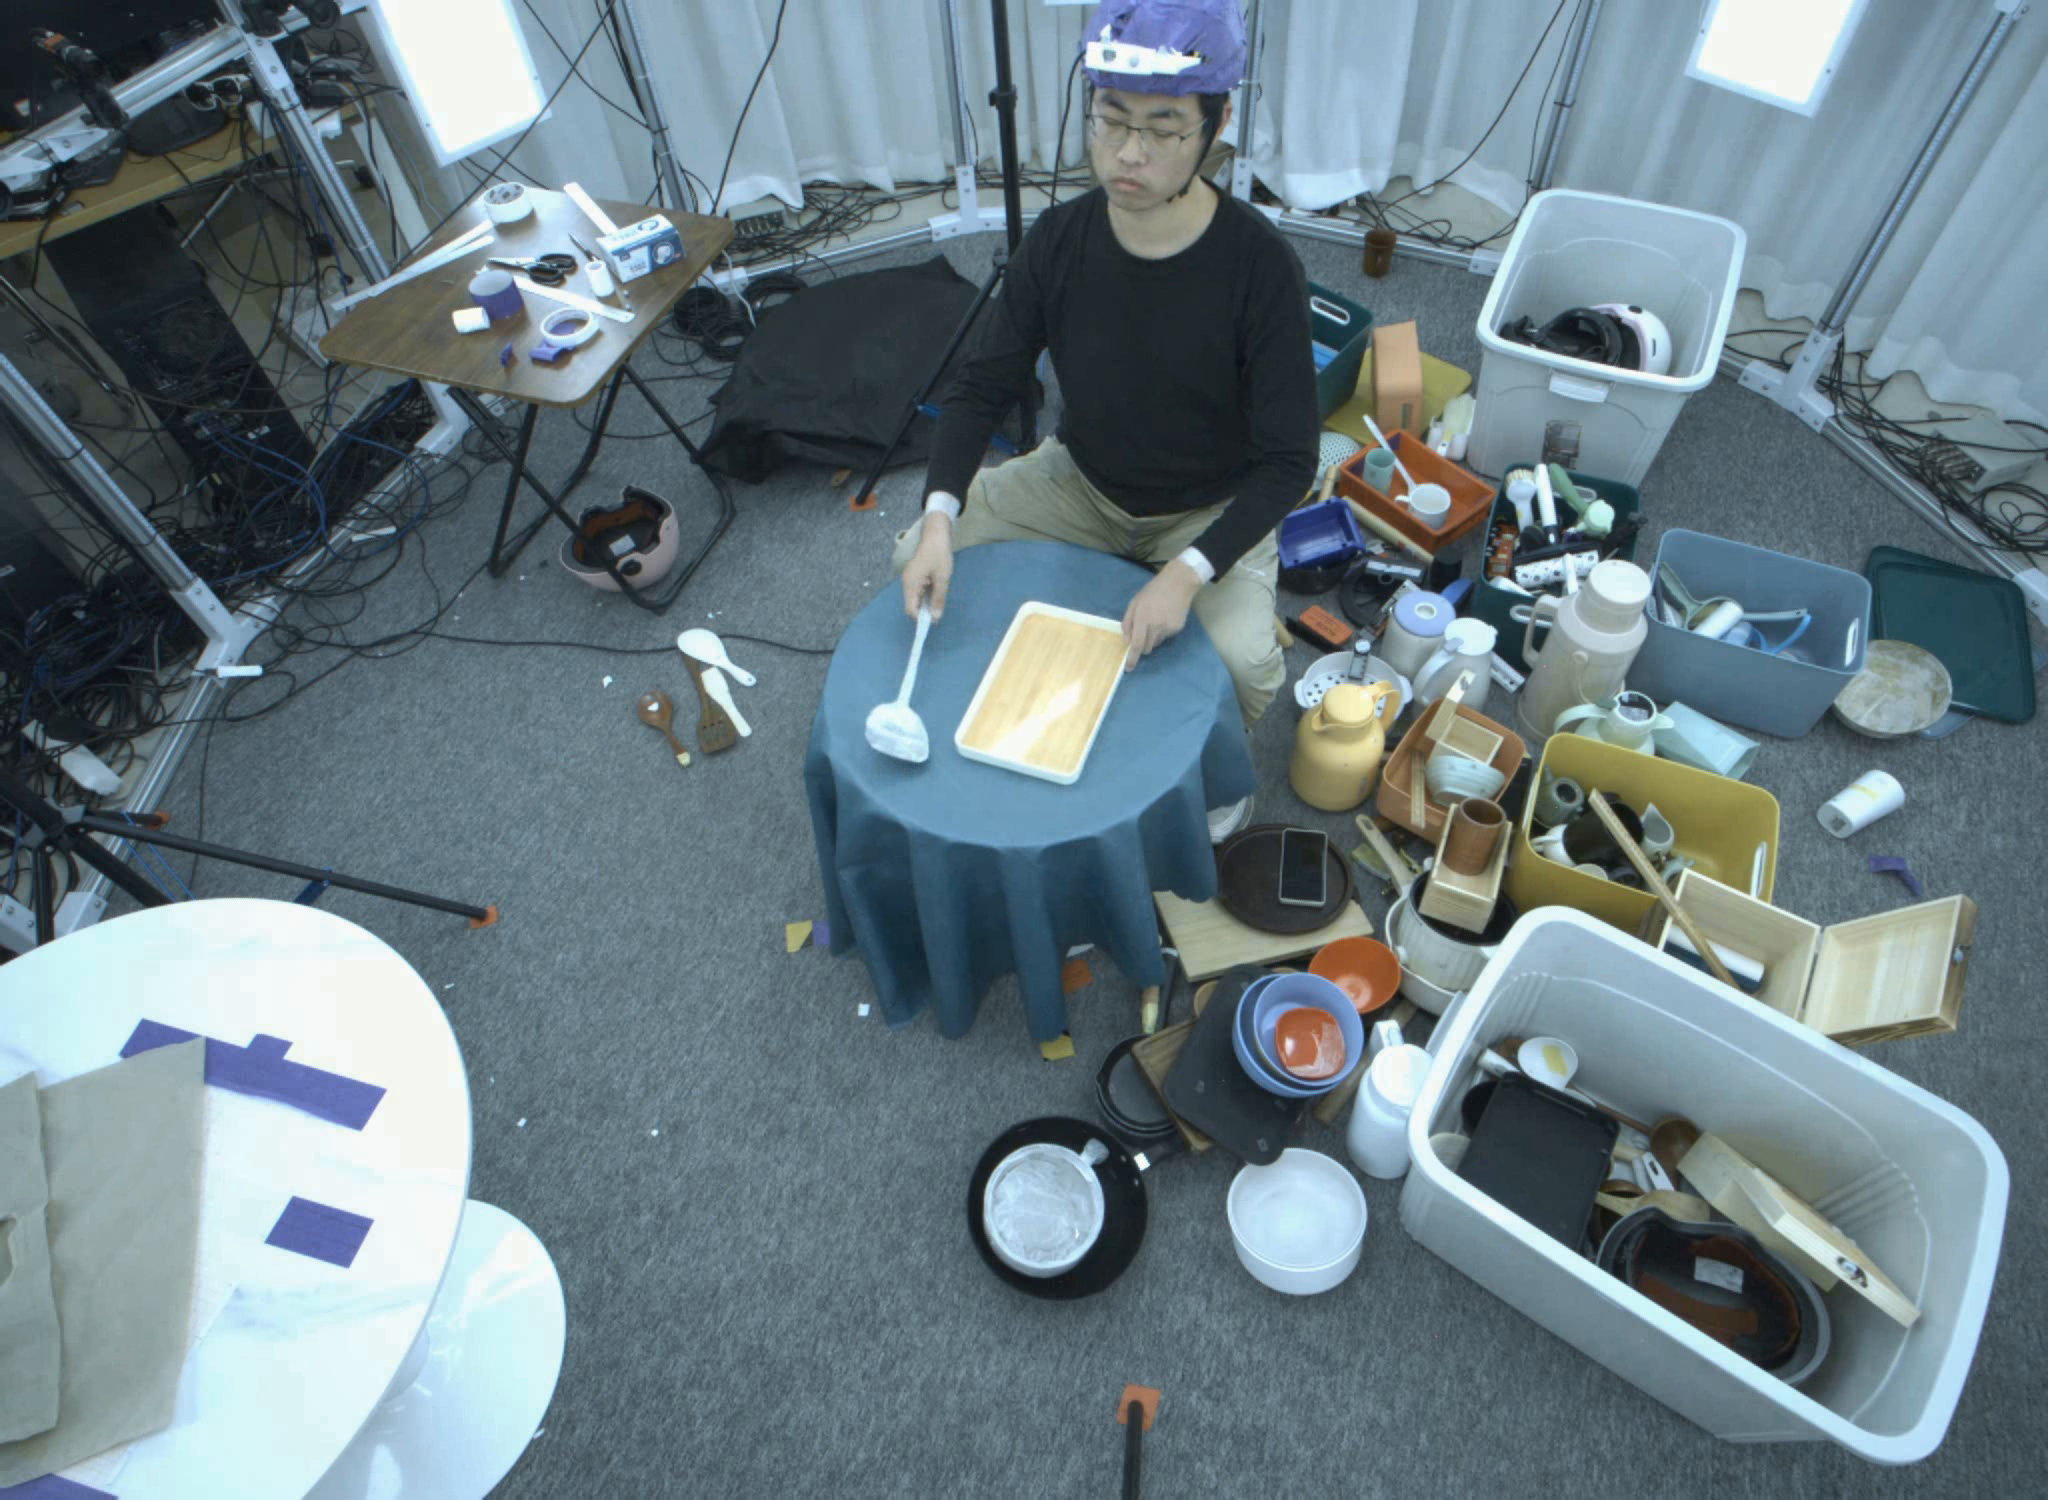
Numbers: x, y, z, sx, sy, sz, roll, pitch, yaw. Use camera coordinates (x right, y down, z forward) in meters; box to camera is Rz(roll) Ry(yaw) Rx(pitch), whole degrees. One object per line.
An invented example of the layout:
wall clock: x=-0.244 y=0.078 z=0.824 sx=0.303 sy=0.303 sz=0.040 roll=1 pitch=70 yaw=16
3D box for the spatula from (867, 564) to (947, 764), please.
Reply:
spatula: x=-0.157 y=-0.141 z=1.831 sx=0.100 sy=0.044 sz=0.363 roll=18 pitch=65 yaw=-17

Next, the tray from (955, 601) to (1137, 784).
tray: x=0.037 y=-0.092 z=1.835 sx=0.189 sy=0.028 sz=0.300 roll=16 pitch=57 yaw=13
